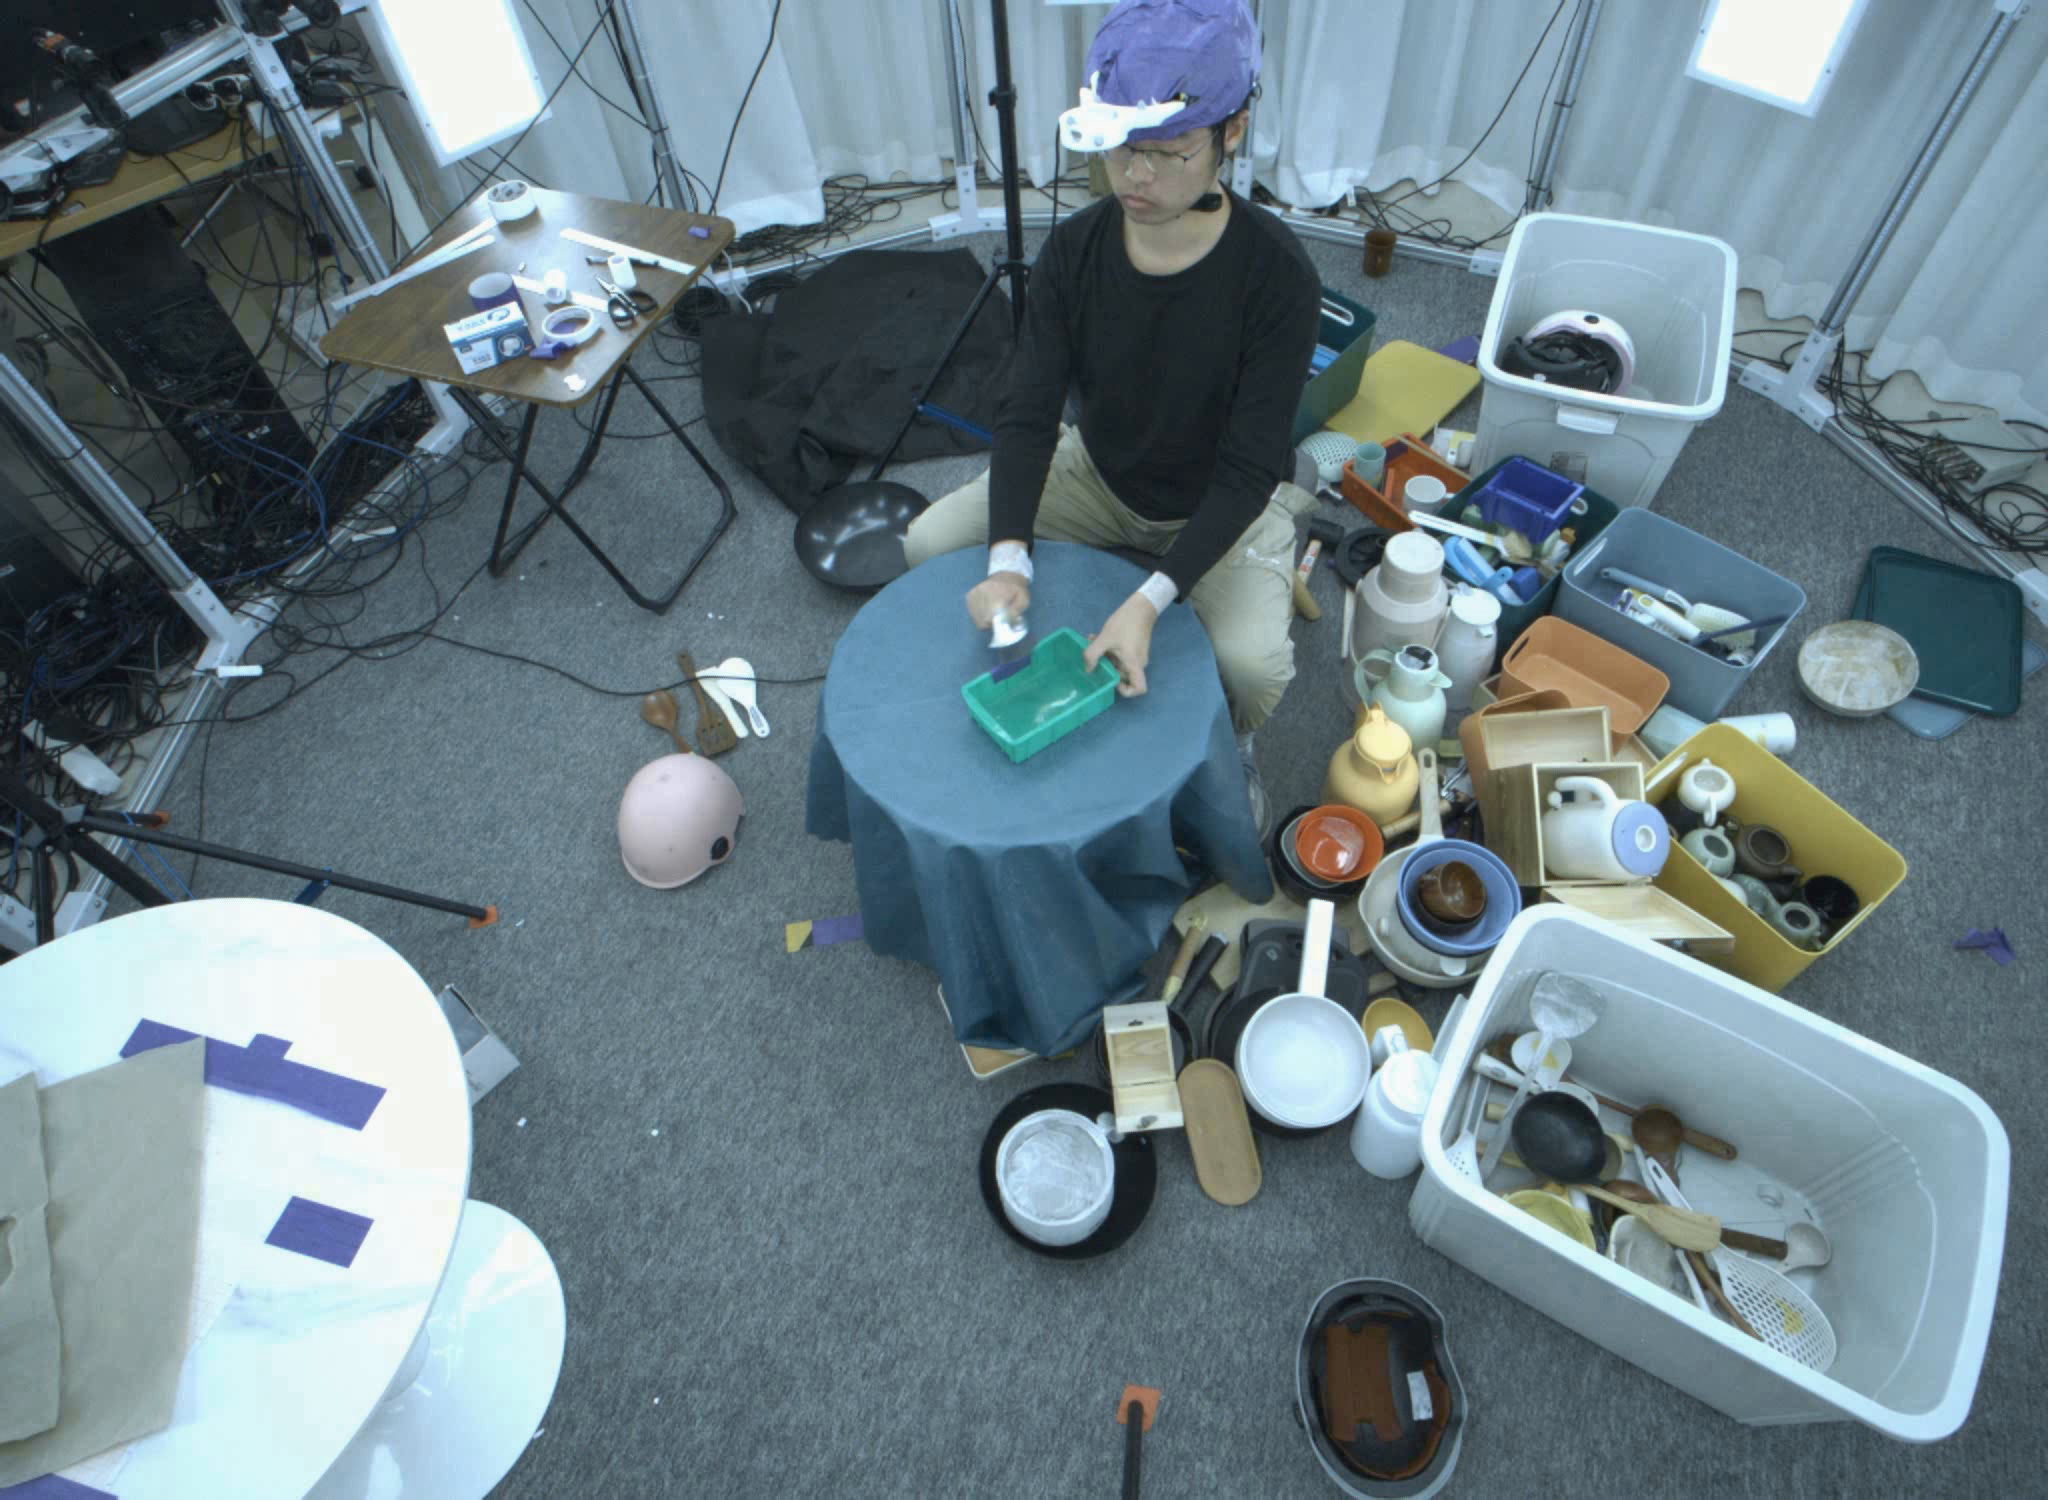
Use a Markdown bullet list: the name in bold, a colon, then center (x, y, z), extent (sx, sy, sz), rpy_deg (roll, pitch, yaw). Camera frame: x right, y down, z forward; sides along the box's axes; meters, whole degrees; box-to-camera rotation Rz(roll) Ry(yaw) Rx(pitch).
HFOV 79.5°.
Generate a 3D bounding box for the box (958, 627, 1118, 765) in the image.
- **box**: center (0.023, -0.077, 1.803), extent (0.212, 0.066, 0.136), rpy_deg (-35, 58, -19)

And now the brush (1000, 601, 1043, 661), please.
- **brush**: center (-0.011, -0.181, 1.807), extent (0.050, 0.073, 0.099), rpy_deg (-18, 18, 17)
